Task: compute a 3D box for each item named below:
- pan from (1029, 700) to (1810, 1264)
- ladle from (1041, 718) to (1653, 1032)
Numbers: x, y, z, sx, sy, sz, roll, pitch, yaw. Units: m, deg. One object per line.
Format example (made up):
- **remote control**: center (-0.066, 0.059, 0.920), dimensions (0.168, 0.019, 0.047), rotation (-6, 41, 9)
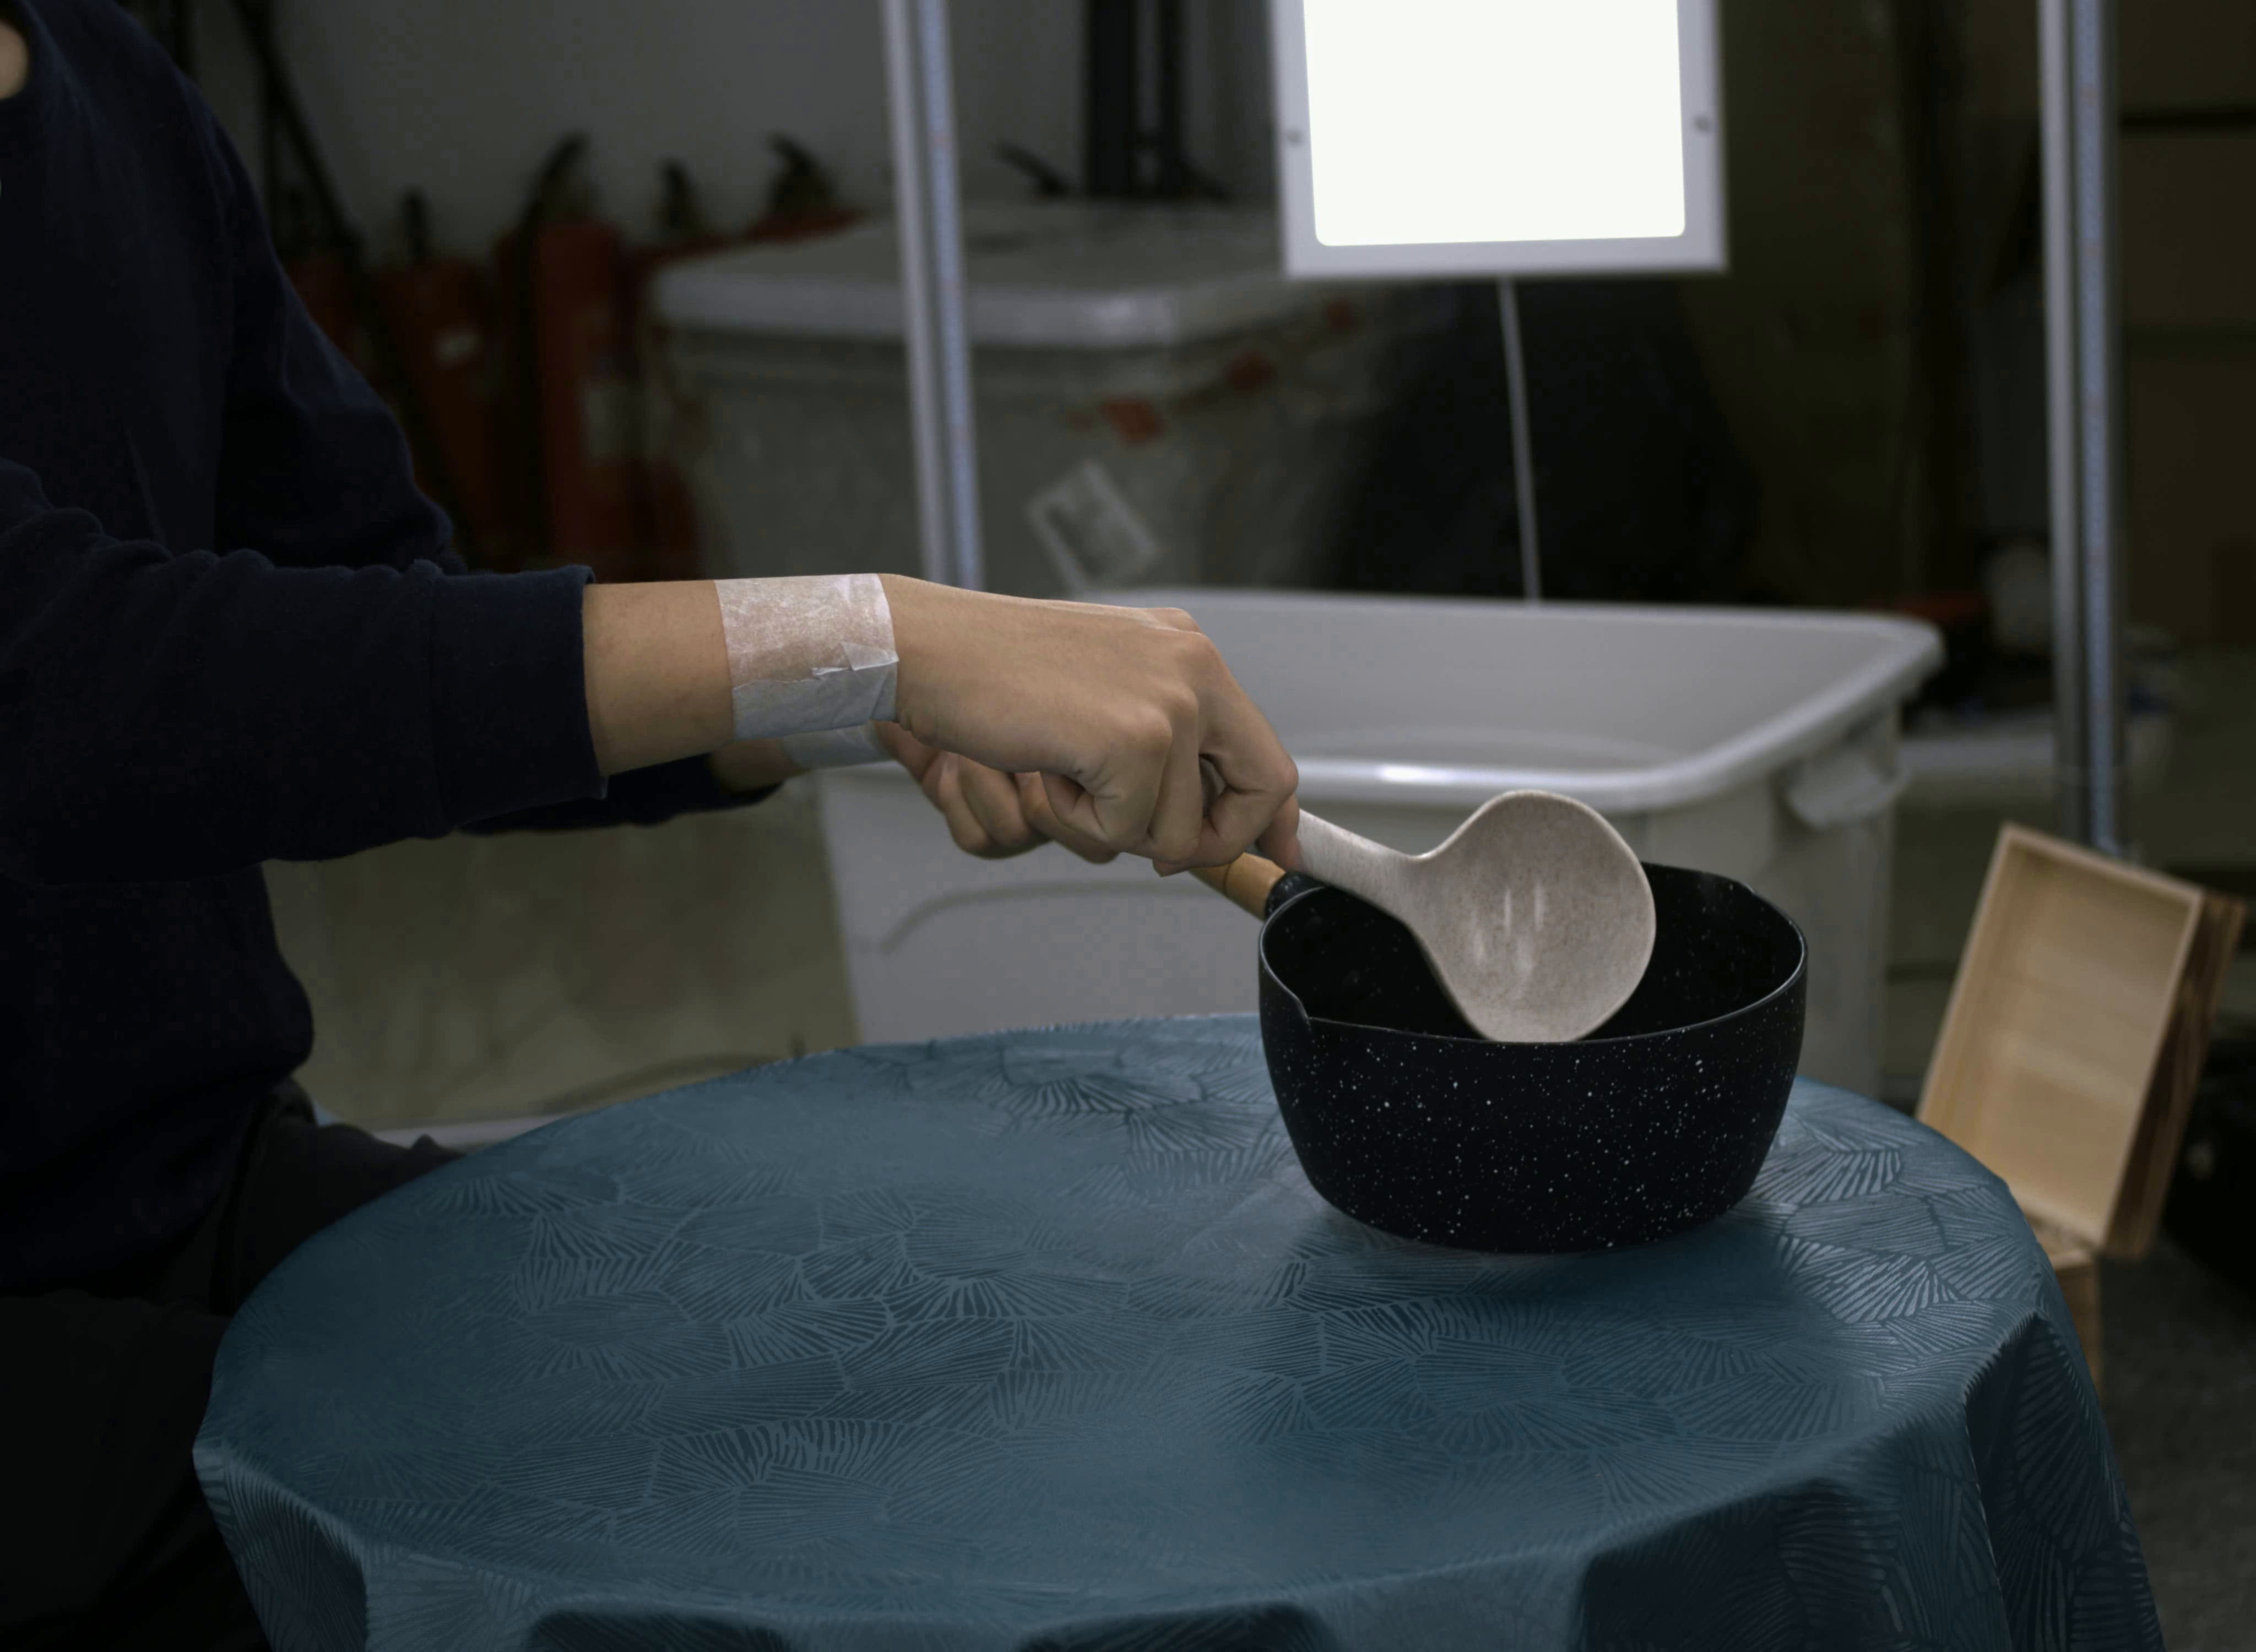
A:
- **pan**: center (0.082, 0.048, 1.896), dimensions (0.202, 0.109, 0.349), rotation (-19, 27, -38)
- **ladle**: center (0.076, 0.007, 1.761), dimensions (0.071, 0.089, 0.269), rotation (4, -11, 36)
